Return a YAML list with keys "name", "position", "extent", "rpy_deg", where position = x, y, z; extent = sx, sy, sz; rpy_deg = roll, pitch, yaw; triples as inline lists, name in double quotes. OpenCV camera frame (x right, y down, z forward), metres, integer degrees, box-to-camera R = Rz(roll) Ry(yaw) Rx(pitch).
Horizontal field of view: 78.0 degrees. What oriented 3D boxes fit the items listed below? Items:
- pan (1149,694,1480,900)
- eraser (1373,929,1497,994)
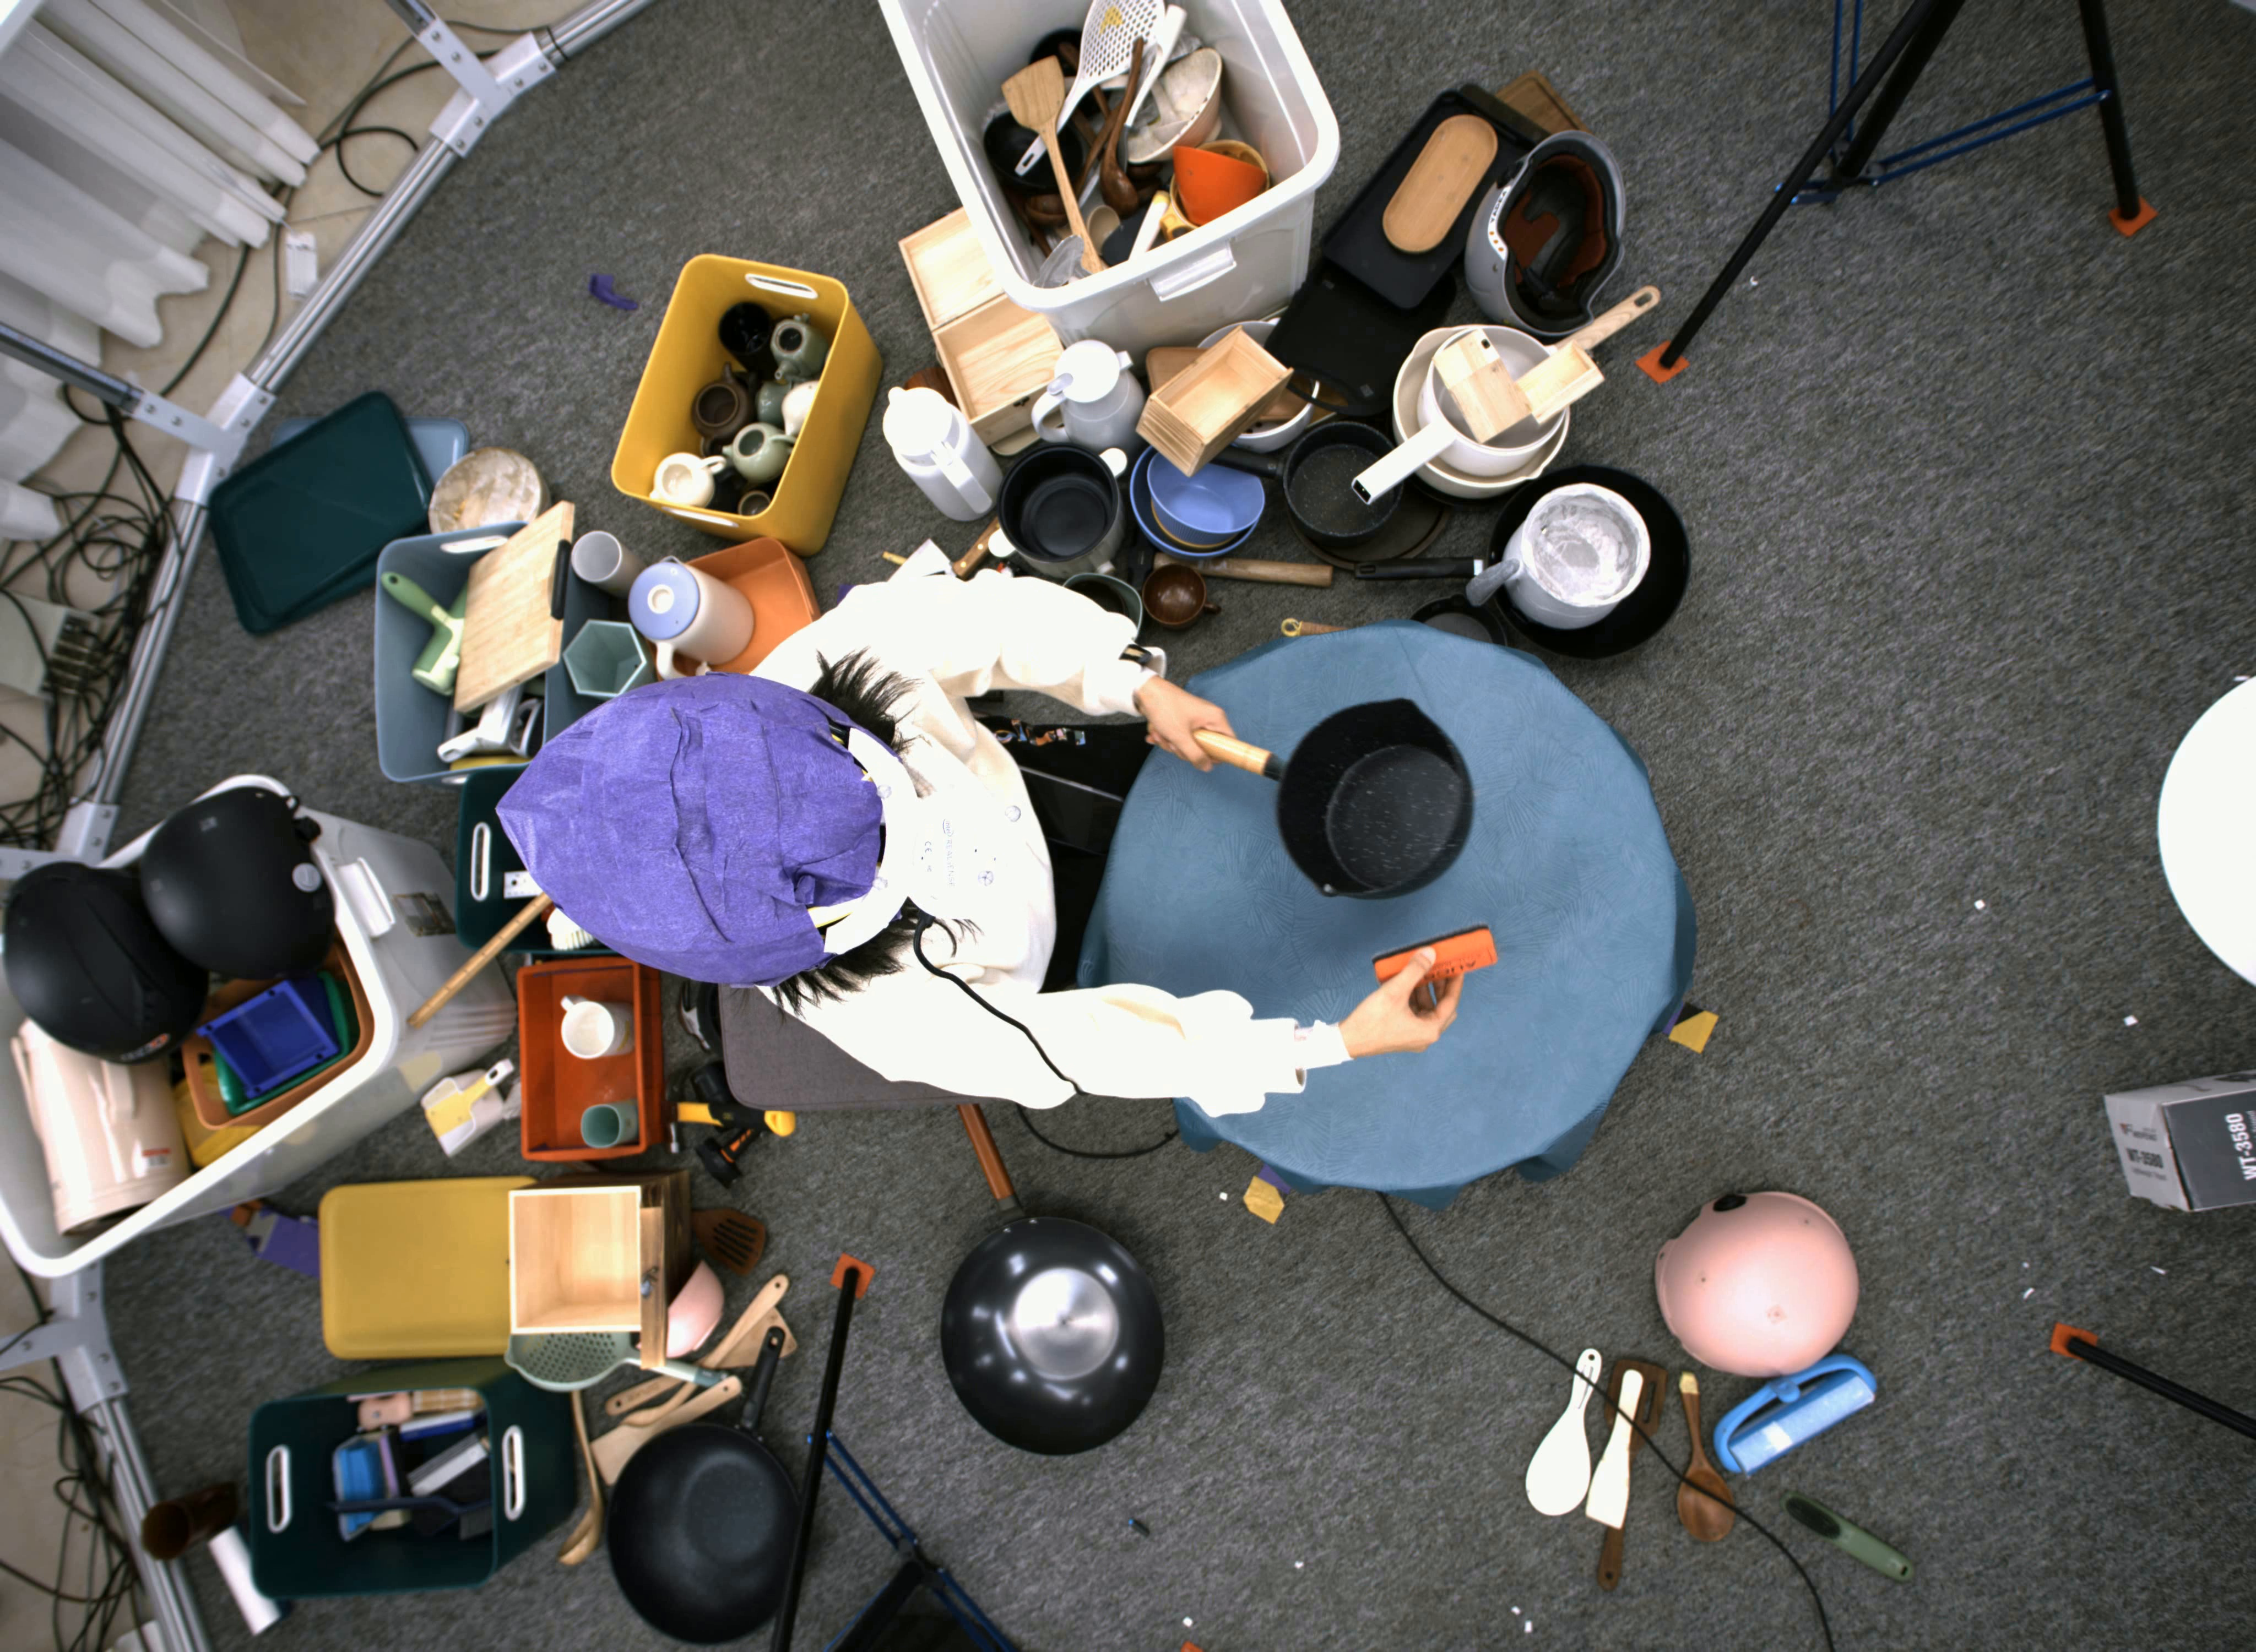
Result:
- name: "pan"
  position: [0.179, -0.043, 1.348]
  extent: [0.342, 0.108, 0.207]
  rpy_deg: [20, 90, 32]
- name: "eraser"
  position: [0.280, 0.123, 1.257]
  extent: [0.109, 0.060, 0.022]
  rpy_deg: [-17, 64, 12]
